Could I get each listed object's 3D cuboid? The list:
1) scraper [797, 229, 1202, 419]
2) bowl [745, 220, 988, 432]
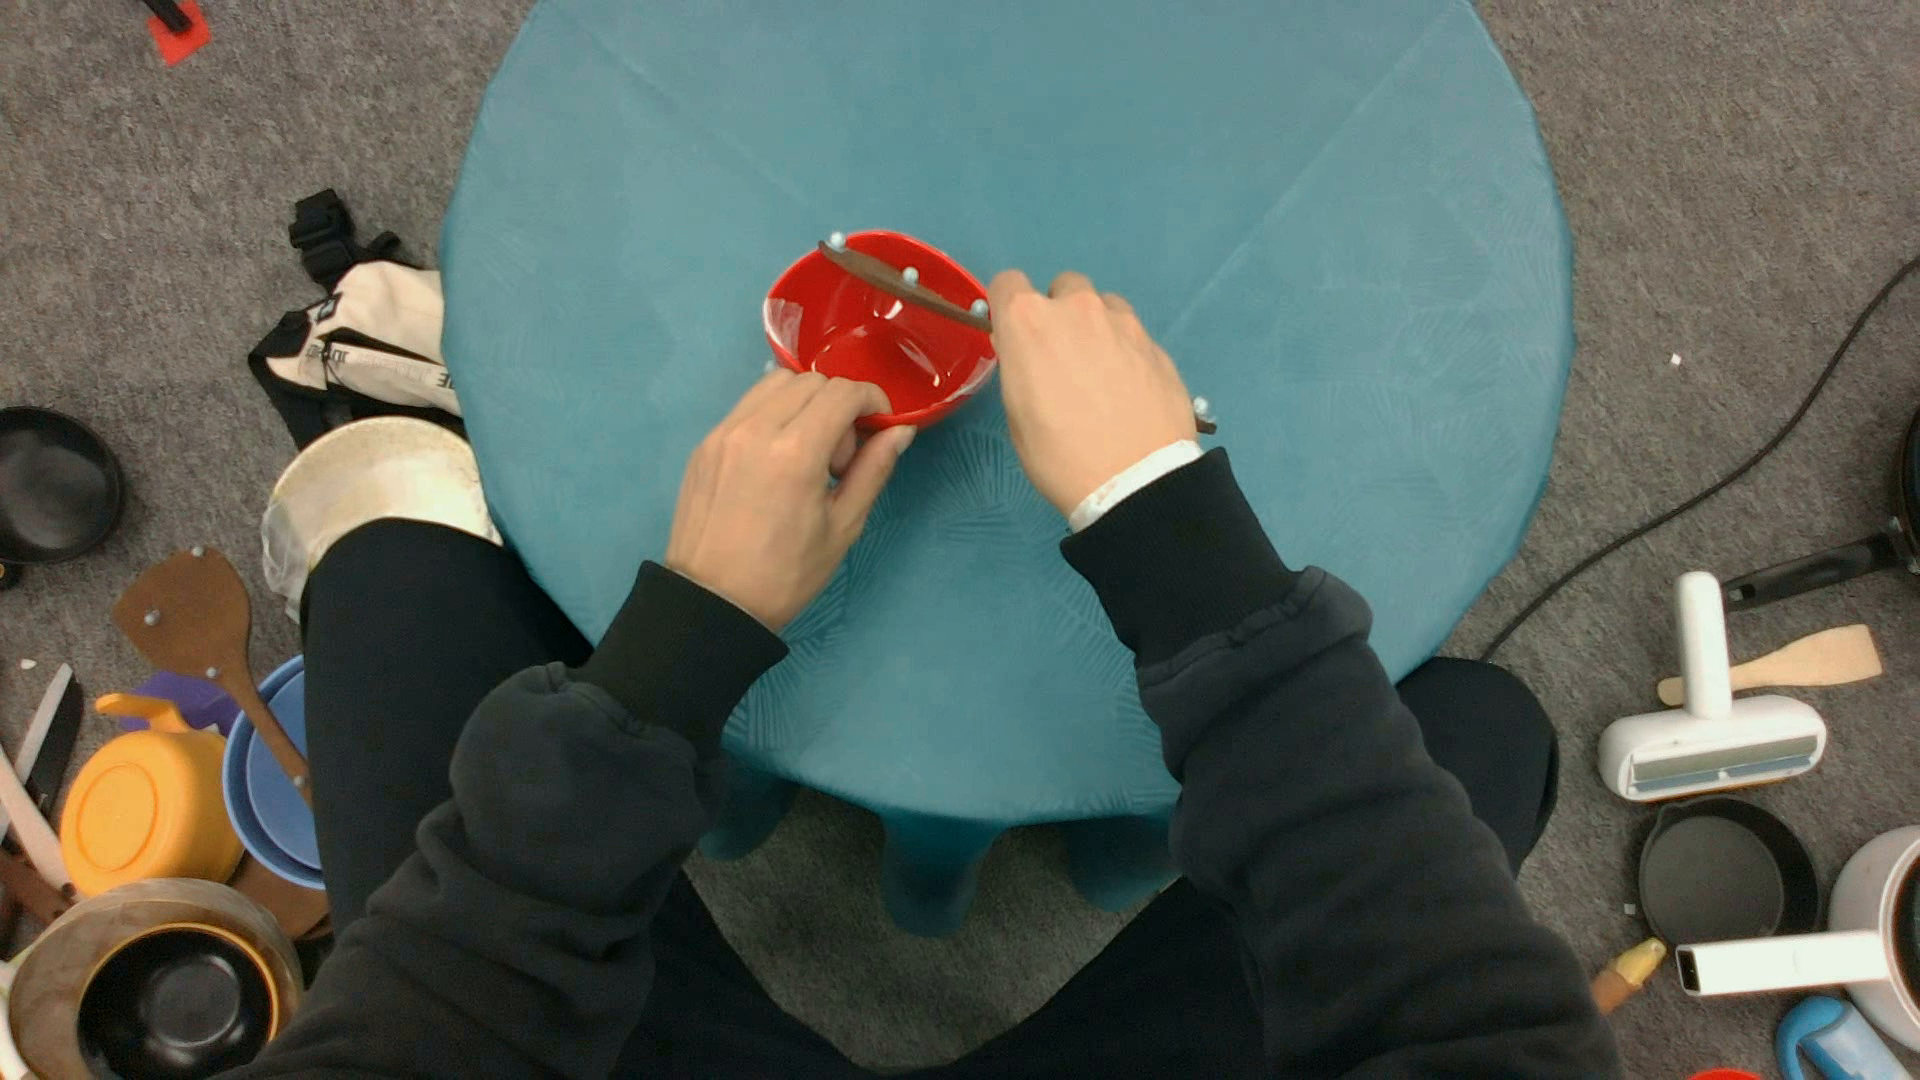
[{"bbox_3d":[0.017,-0.099,0.633,0.211,0.076,0.011,29,105,25],"label":"scraper"},{"bbox_3d":[-0.049,-0.098,0.682,0.119,0.051,0.119,7,56,-10],"label":"bowl"}]
